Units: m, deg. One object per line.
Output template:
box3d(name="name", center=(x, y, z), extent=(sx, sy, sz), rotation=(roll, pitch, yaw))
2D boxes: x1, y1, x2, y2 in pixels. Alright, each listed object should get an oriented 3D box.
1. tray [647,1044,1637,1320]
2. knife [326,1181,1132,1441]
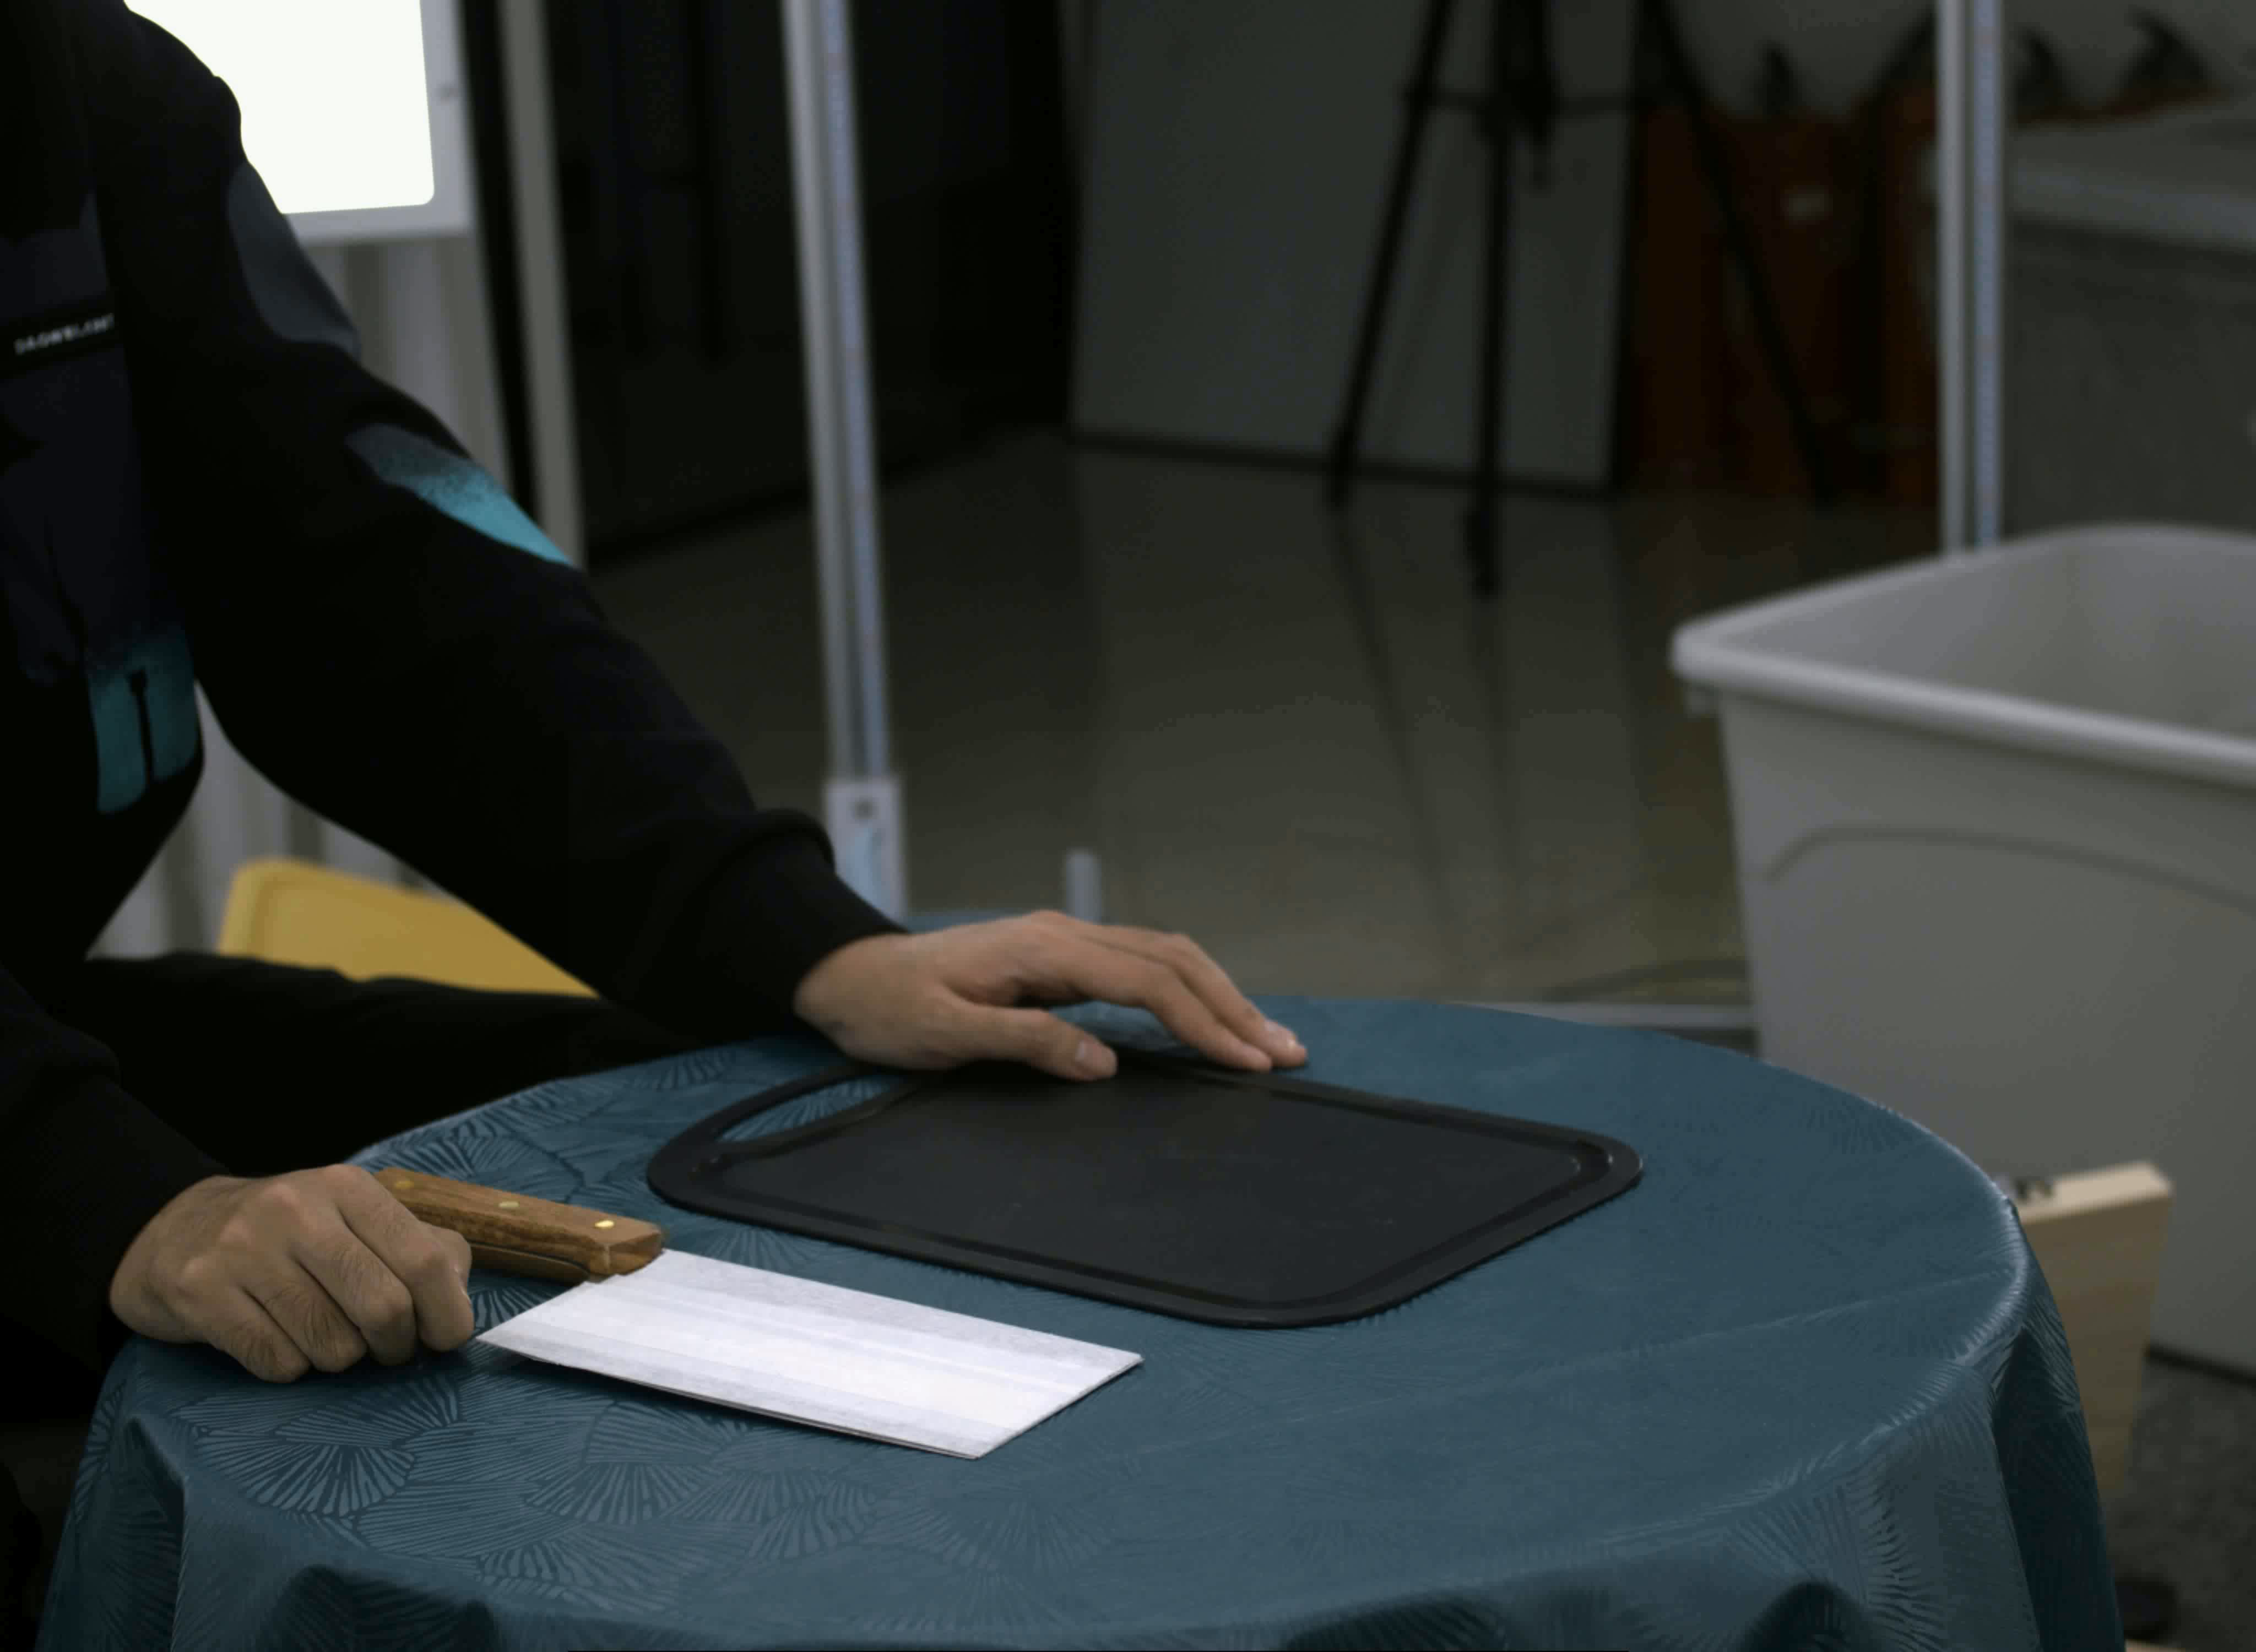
box3d(name="tray", center=(-0.005, 0.113, 1.791), extent=(0.328, 0.010, 0.207), rotation=(8, 18, 40))
box3d(name="knife", center=(-0.142, 0.151, 1.661), extent=(0.307, 0.021, 0.091), rotation=(8, 20, 35))
